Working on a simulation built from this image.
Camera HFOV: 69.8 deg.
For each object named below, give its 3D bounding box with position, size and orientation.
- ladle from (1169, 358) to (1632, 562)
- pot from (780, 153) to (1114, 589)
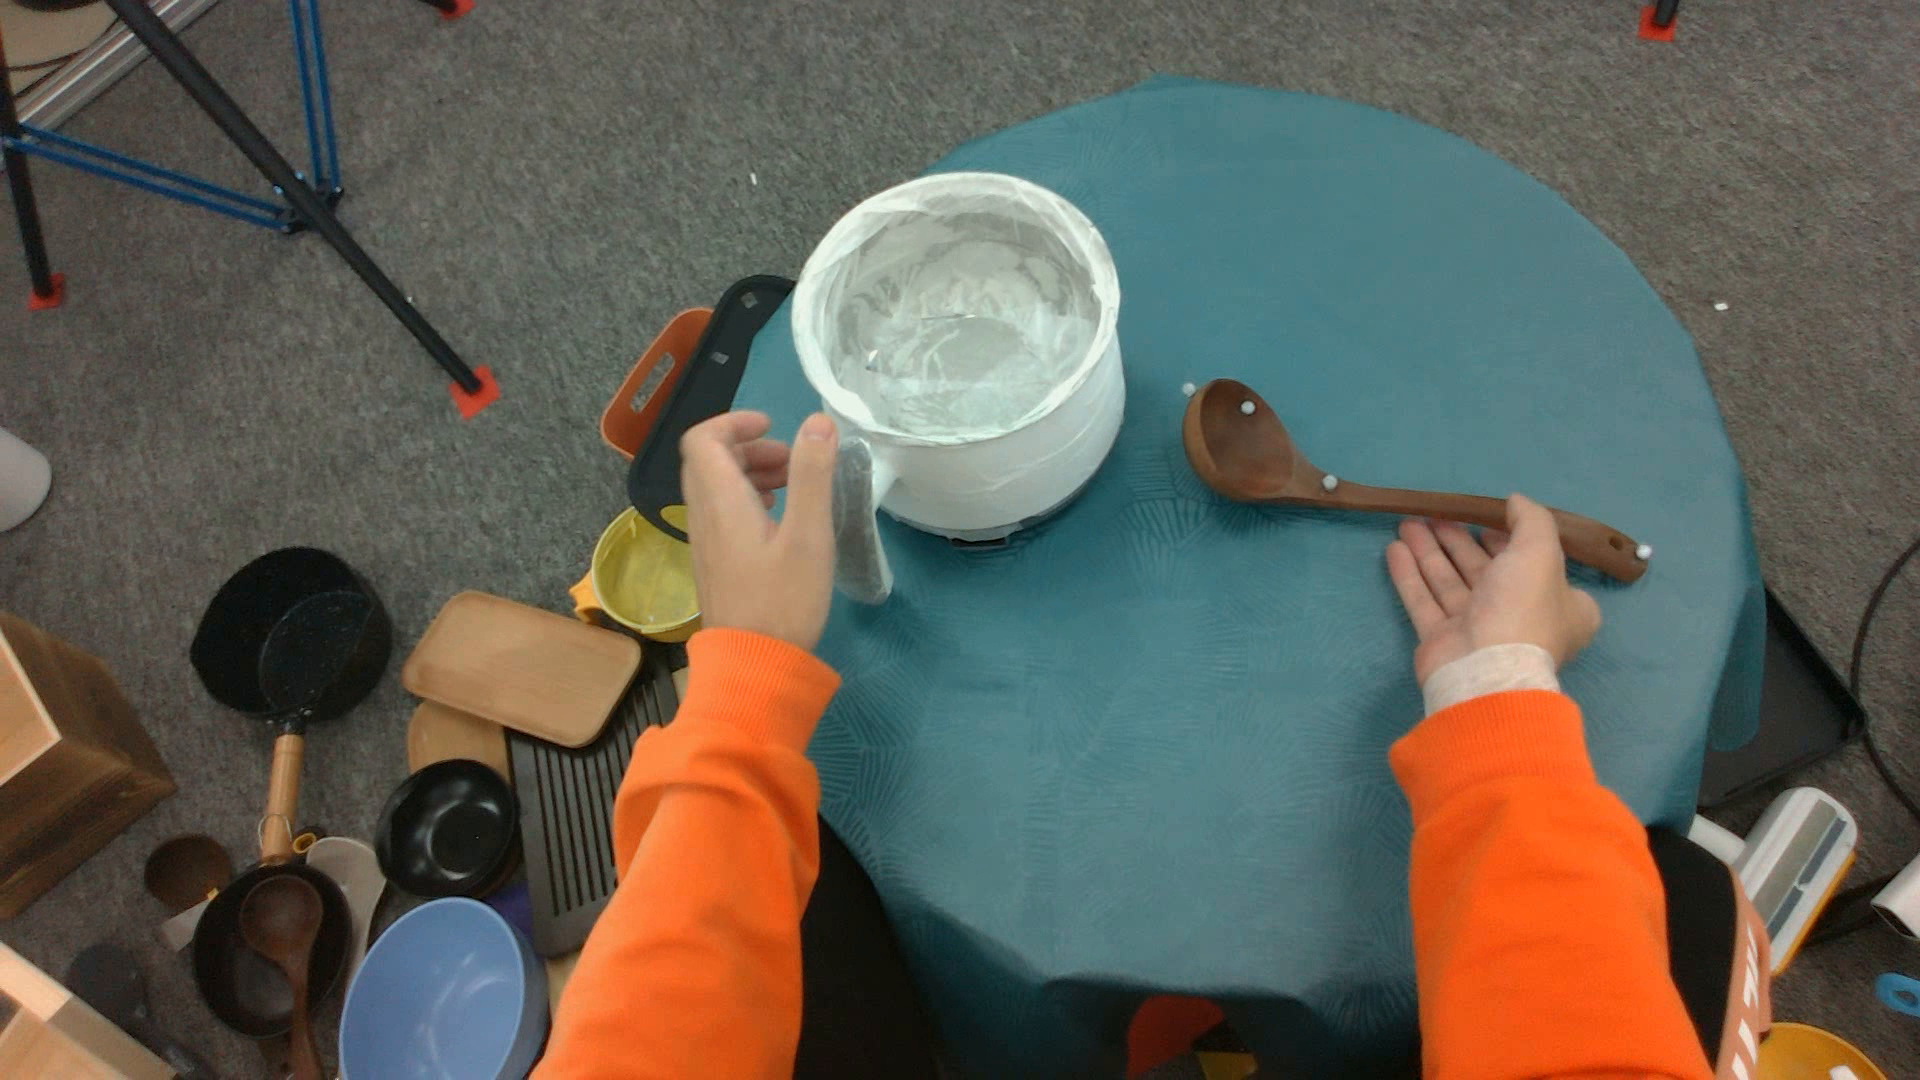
[{"bbox_3d":[0.243,-0.042,0.764,0.260,0.065,0.077,15,59,15],"label":"ladle"},{"bbox_3d":[-0.015,-0.087,0.780,0.178,0.136,0.234,24,70,18],"label":"pot"}]
